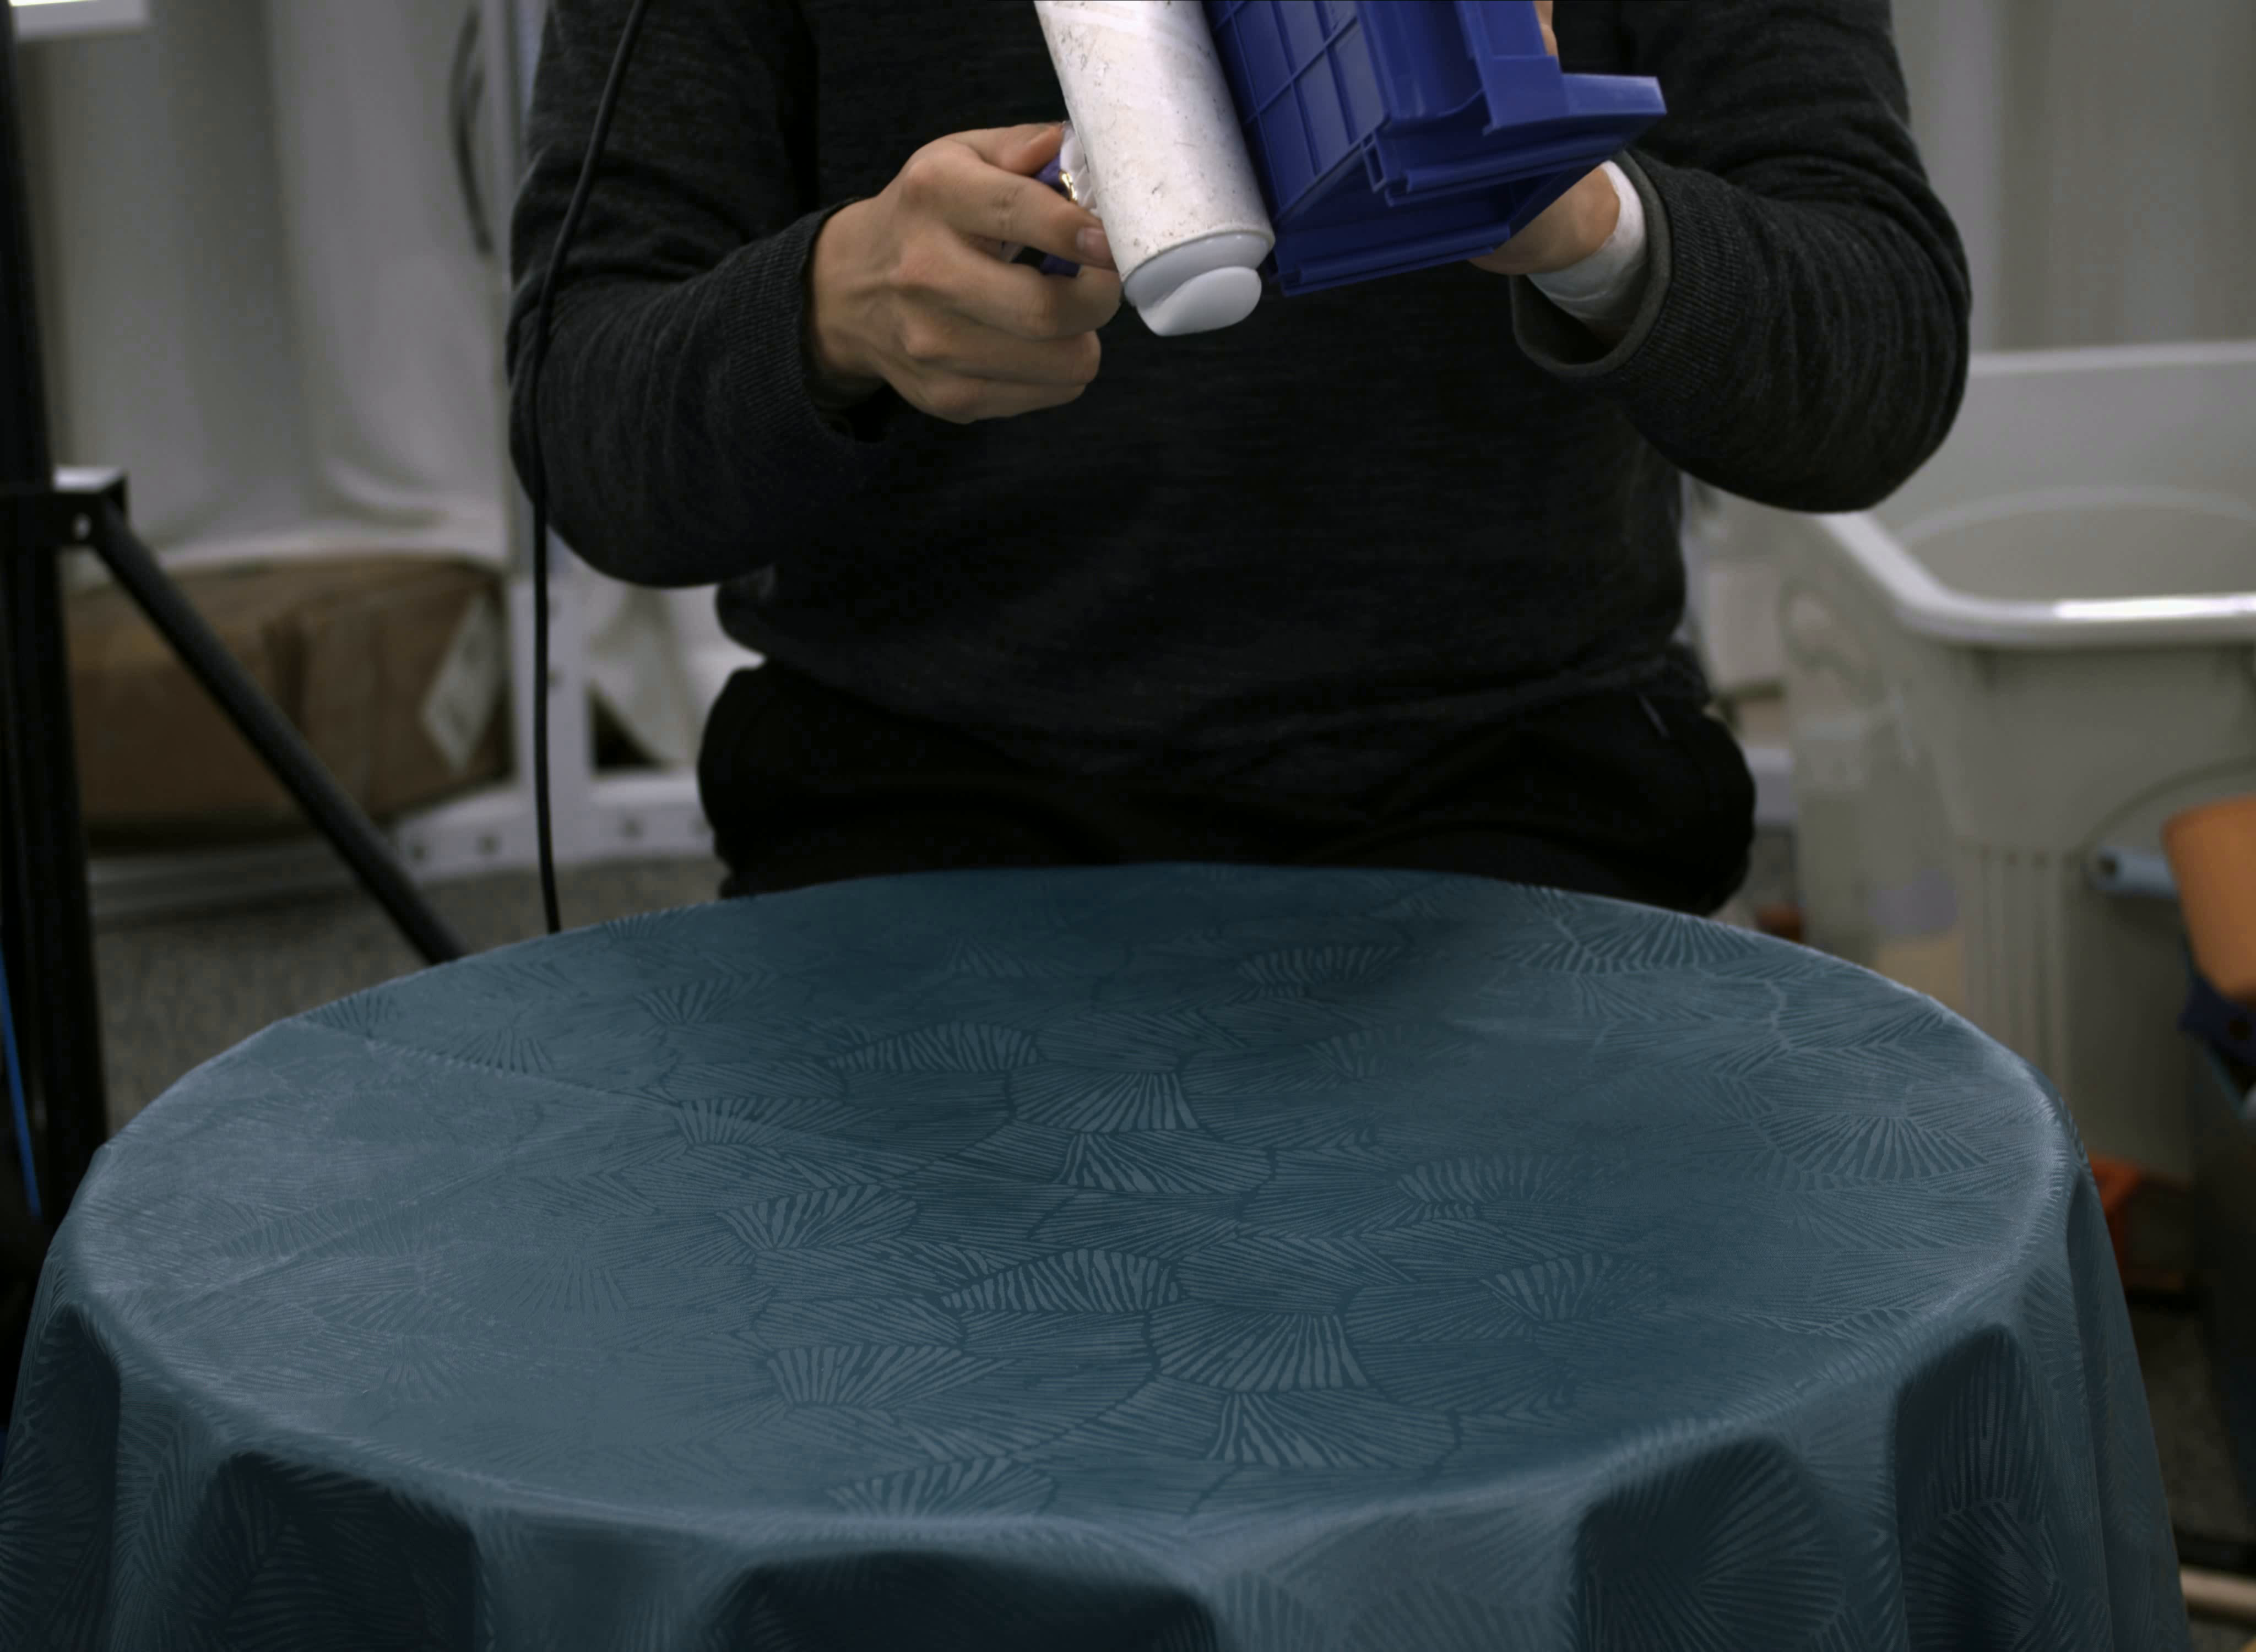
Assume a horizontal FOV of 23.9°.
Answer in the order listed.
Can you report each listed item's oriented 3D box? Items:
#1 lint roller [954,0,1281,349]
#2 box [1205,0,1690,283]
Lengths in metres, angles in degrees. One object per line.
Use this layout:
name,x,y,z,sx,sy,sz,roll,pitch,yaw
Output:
lint roller,-0.023,-0.188,1.592,0.049,0.134,0.183,-8,-14,-33
box,0.085,-0.235,1.482,0.080,0.125,0.181,-11,-7,-18
